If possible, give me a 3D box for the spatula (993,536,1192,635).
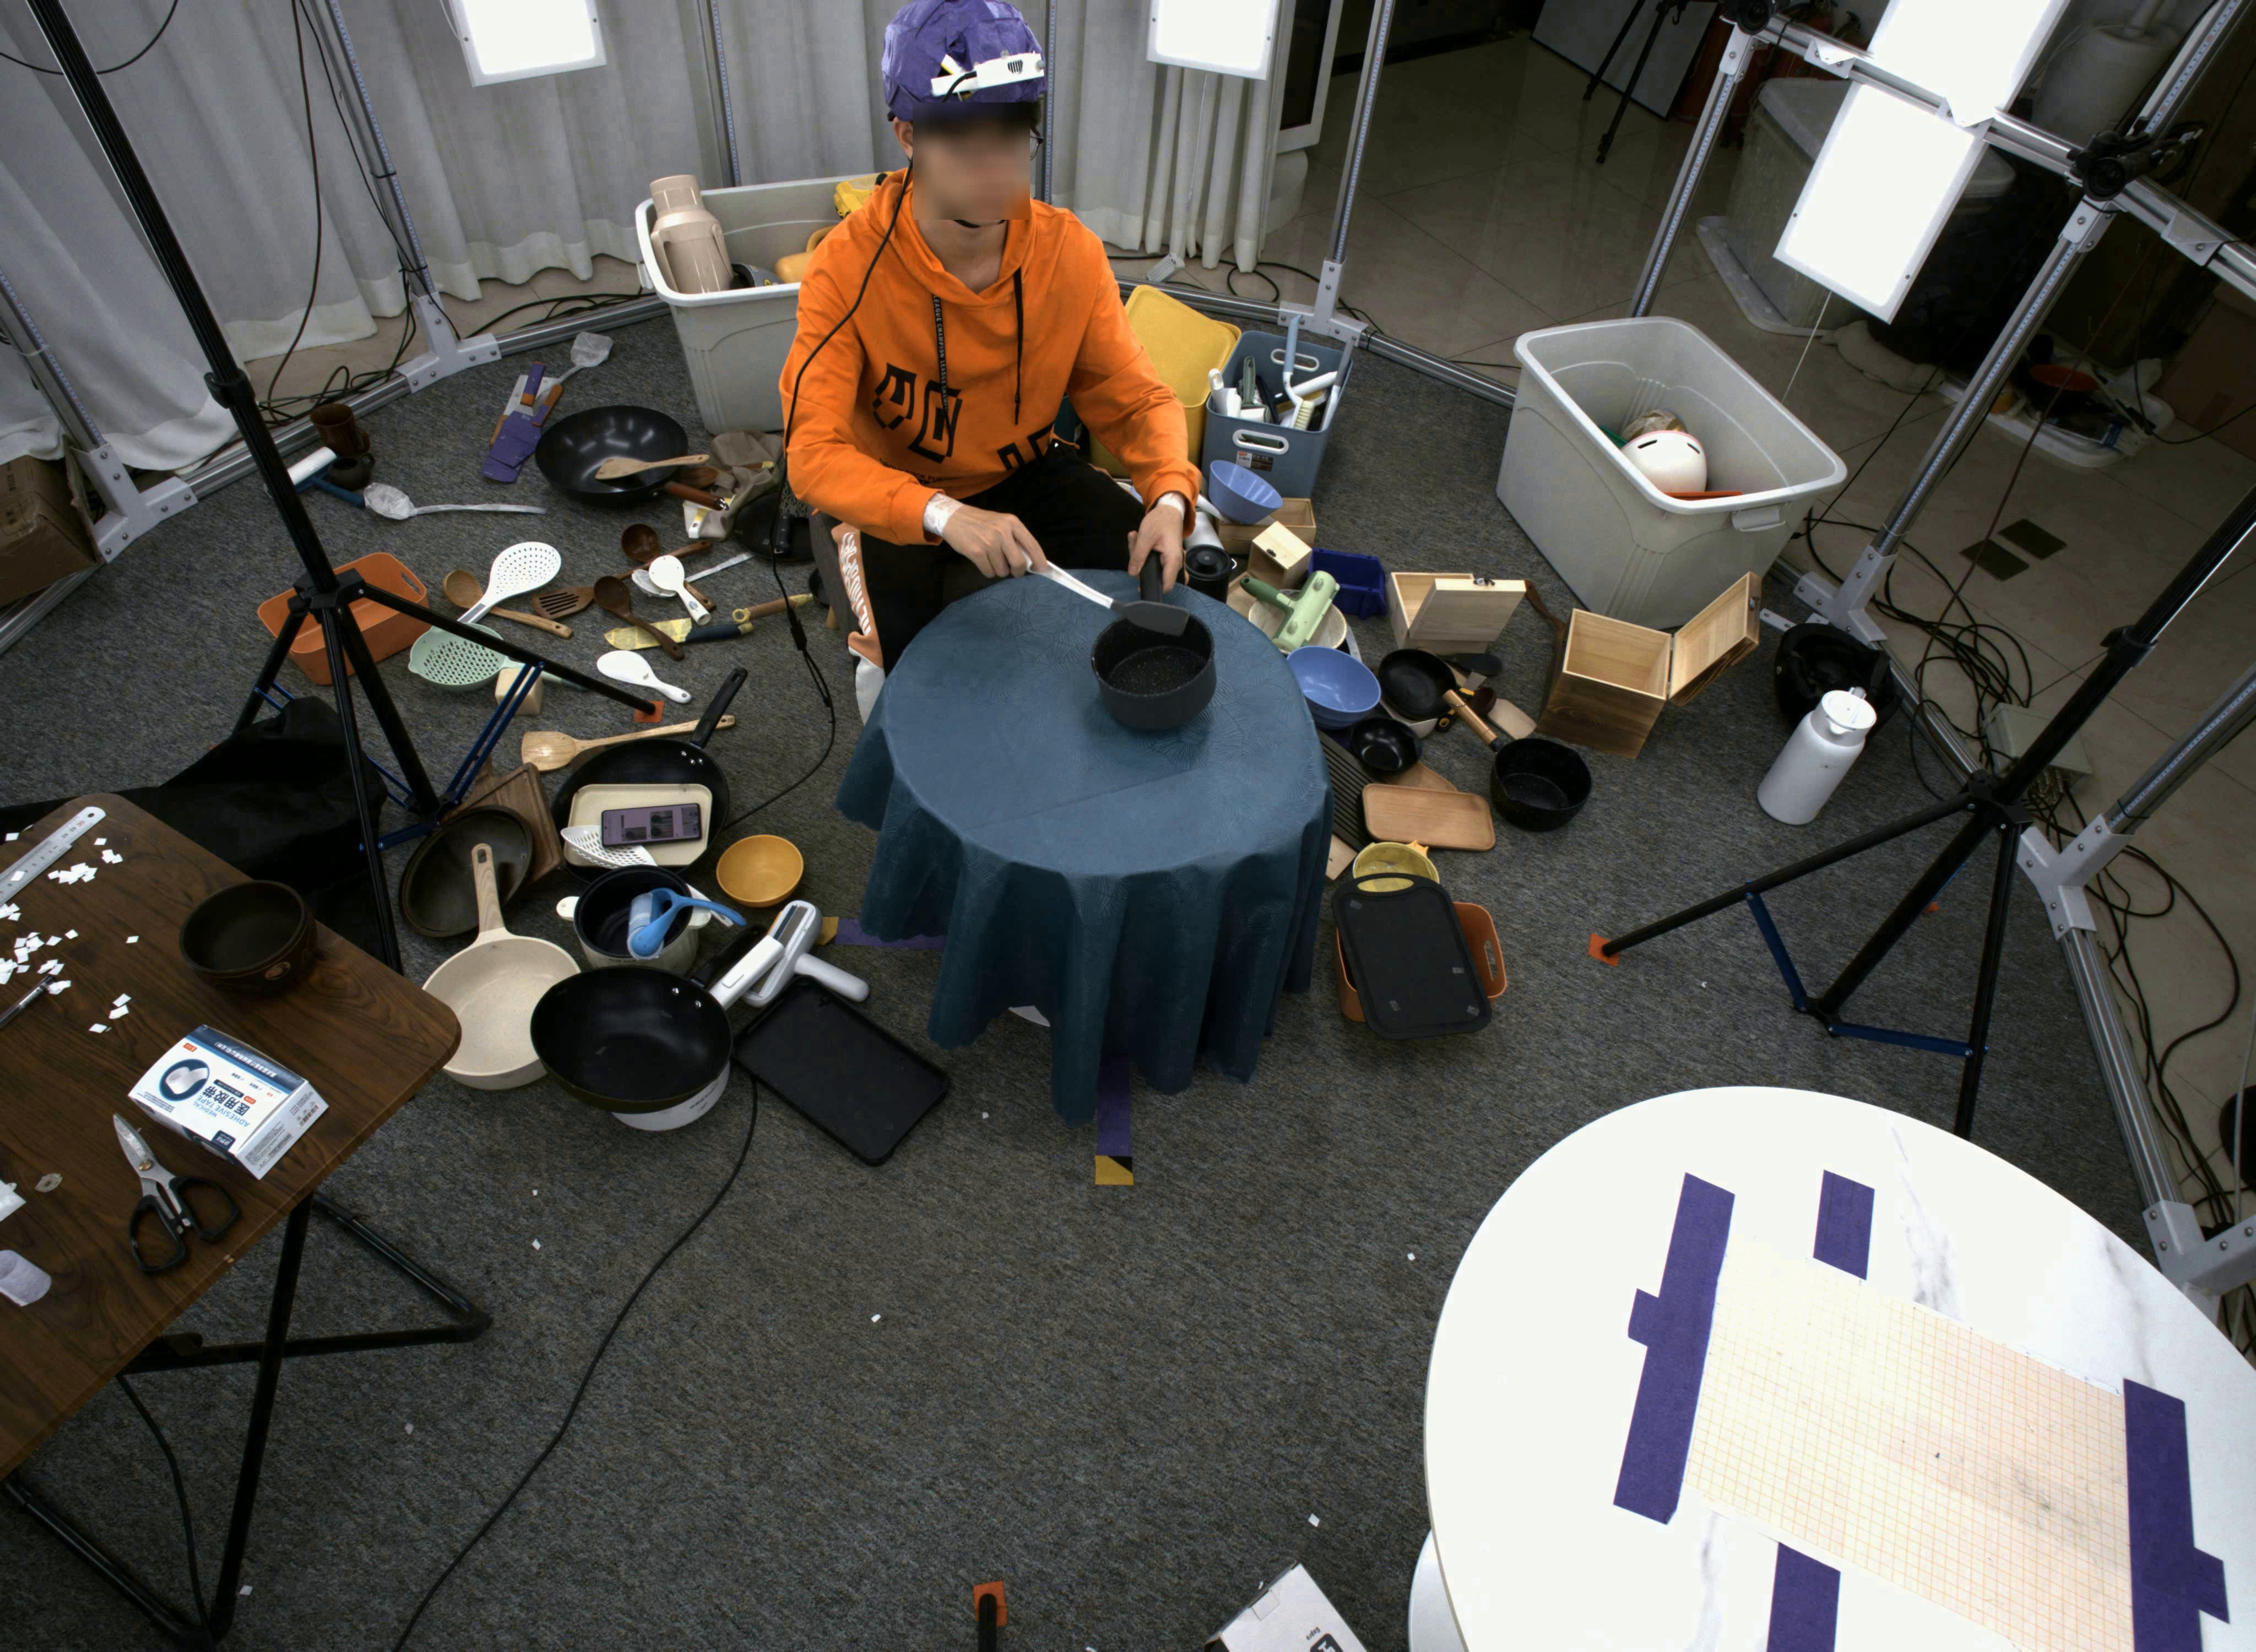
[{"bbox_3d":[-0.050,-0.332,1.784,0.288,0.057,0.033,24,46,4],"label":"spatula"}]

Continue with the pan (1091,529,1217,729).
[{"bbox_3d":[0.040,-0.283,1.831,0.172,0.084,0.337,-3,52,7],"label":"pan"}]
